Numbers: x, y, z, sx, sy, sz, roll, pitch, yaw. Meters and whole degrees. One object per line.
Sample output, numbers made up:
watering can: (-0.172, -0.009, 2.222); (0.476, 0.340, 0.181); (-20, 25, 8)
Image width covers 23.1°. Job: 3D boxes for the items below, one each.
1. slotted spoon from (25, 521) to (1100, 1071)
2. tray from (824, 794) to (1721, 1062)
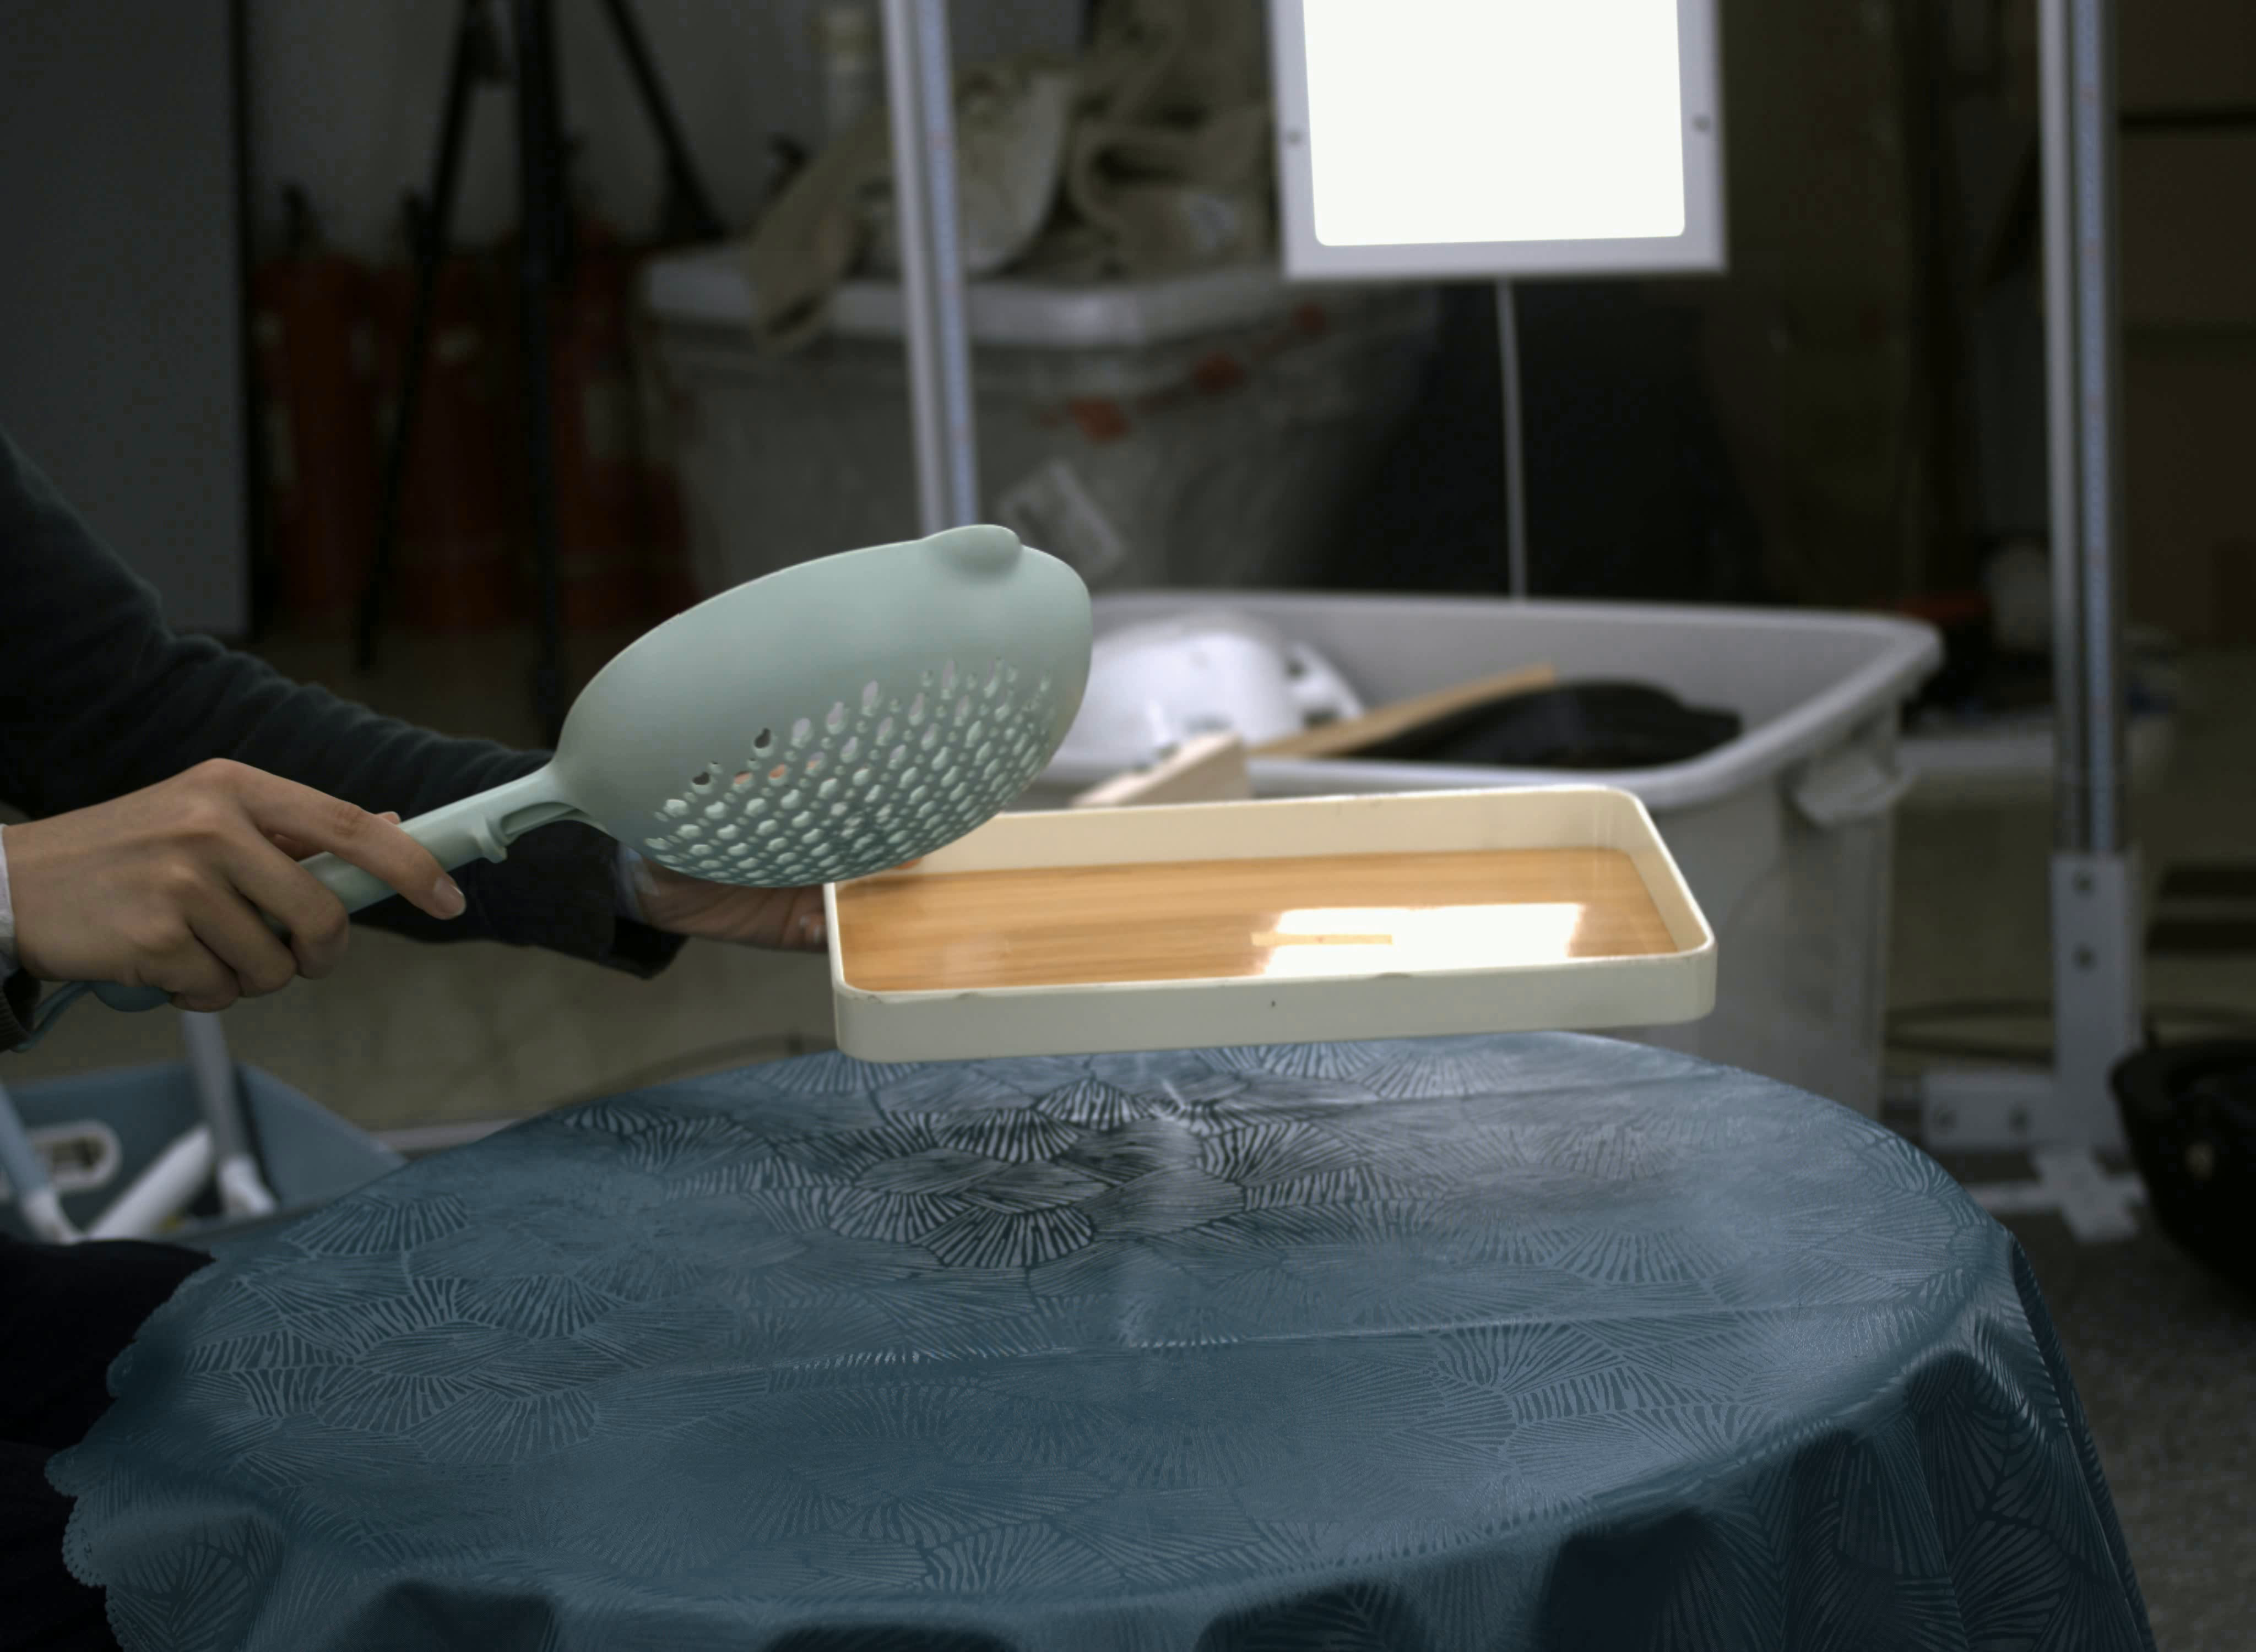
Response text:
slotted spoon: (-0.177, -0.001, 1.712); (0.360, 0.075, 0.168); (-14, -22, 8)
tray: (0.045, 0.034, 1.916); (0.299, 0.027, 0.191); (-2, 18, -2)
